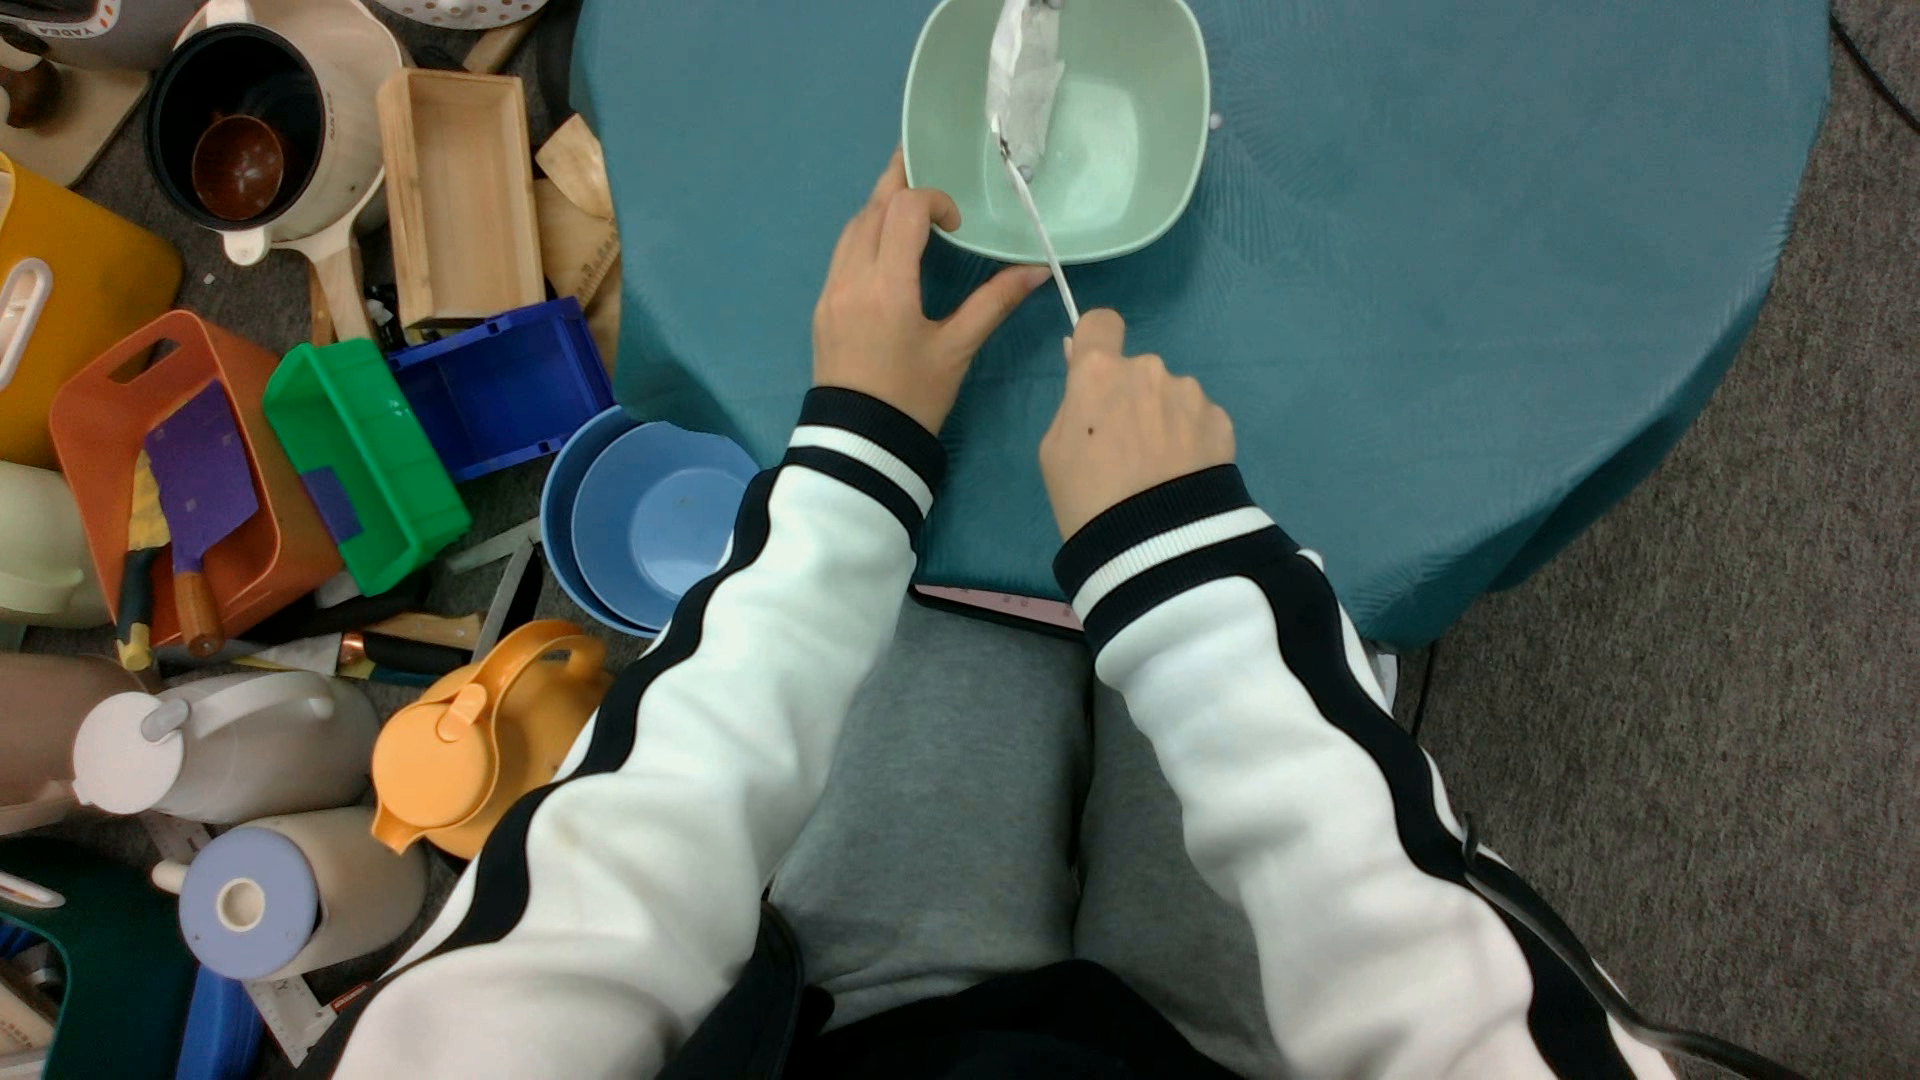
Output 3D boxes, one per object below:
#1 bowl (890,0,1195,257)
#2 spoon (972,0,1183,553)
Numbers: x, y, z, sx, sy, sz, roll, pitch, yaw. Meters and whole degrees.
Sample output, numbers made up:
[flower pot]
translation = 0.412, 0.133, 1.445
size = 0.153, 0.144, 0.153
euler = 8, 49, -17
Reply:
[bowl]
translation = 0.040, -0.194, 0.652
size = 0.151, 0.058, 0.151
euler = -1, 83, 8
[spoon]
translation = 0.061, -0.127, 0.583
size = 0.059, 0.100, 0.278
euler = -23, 68, 4
